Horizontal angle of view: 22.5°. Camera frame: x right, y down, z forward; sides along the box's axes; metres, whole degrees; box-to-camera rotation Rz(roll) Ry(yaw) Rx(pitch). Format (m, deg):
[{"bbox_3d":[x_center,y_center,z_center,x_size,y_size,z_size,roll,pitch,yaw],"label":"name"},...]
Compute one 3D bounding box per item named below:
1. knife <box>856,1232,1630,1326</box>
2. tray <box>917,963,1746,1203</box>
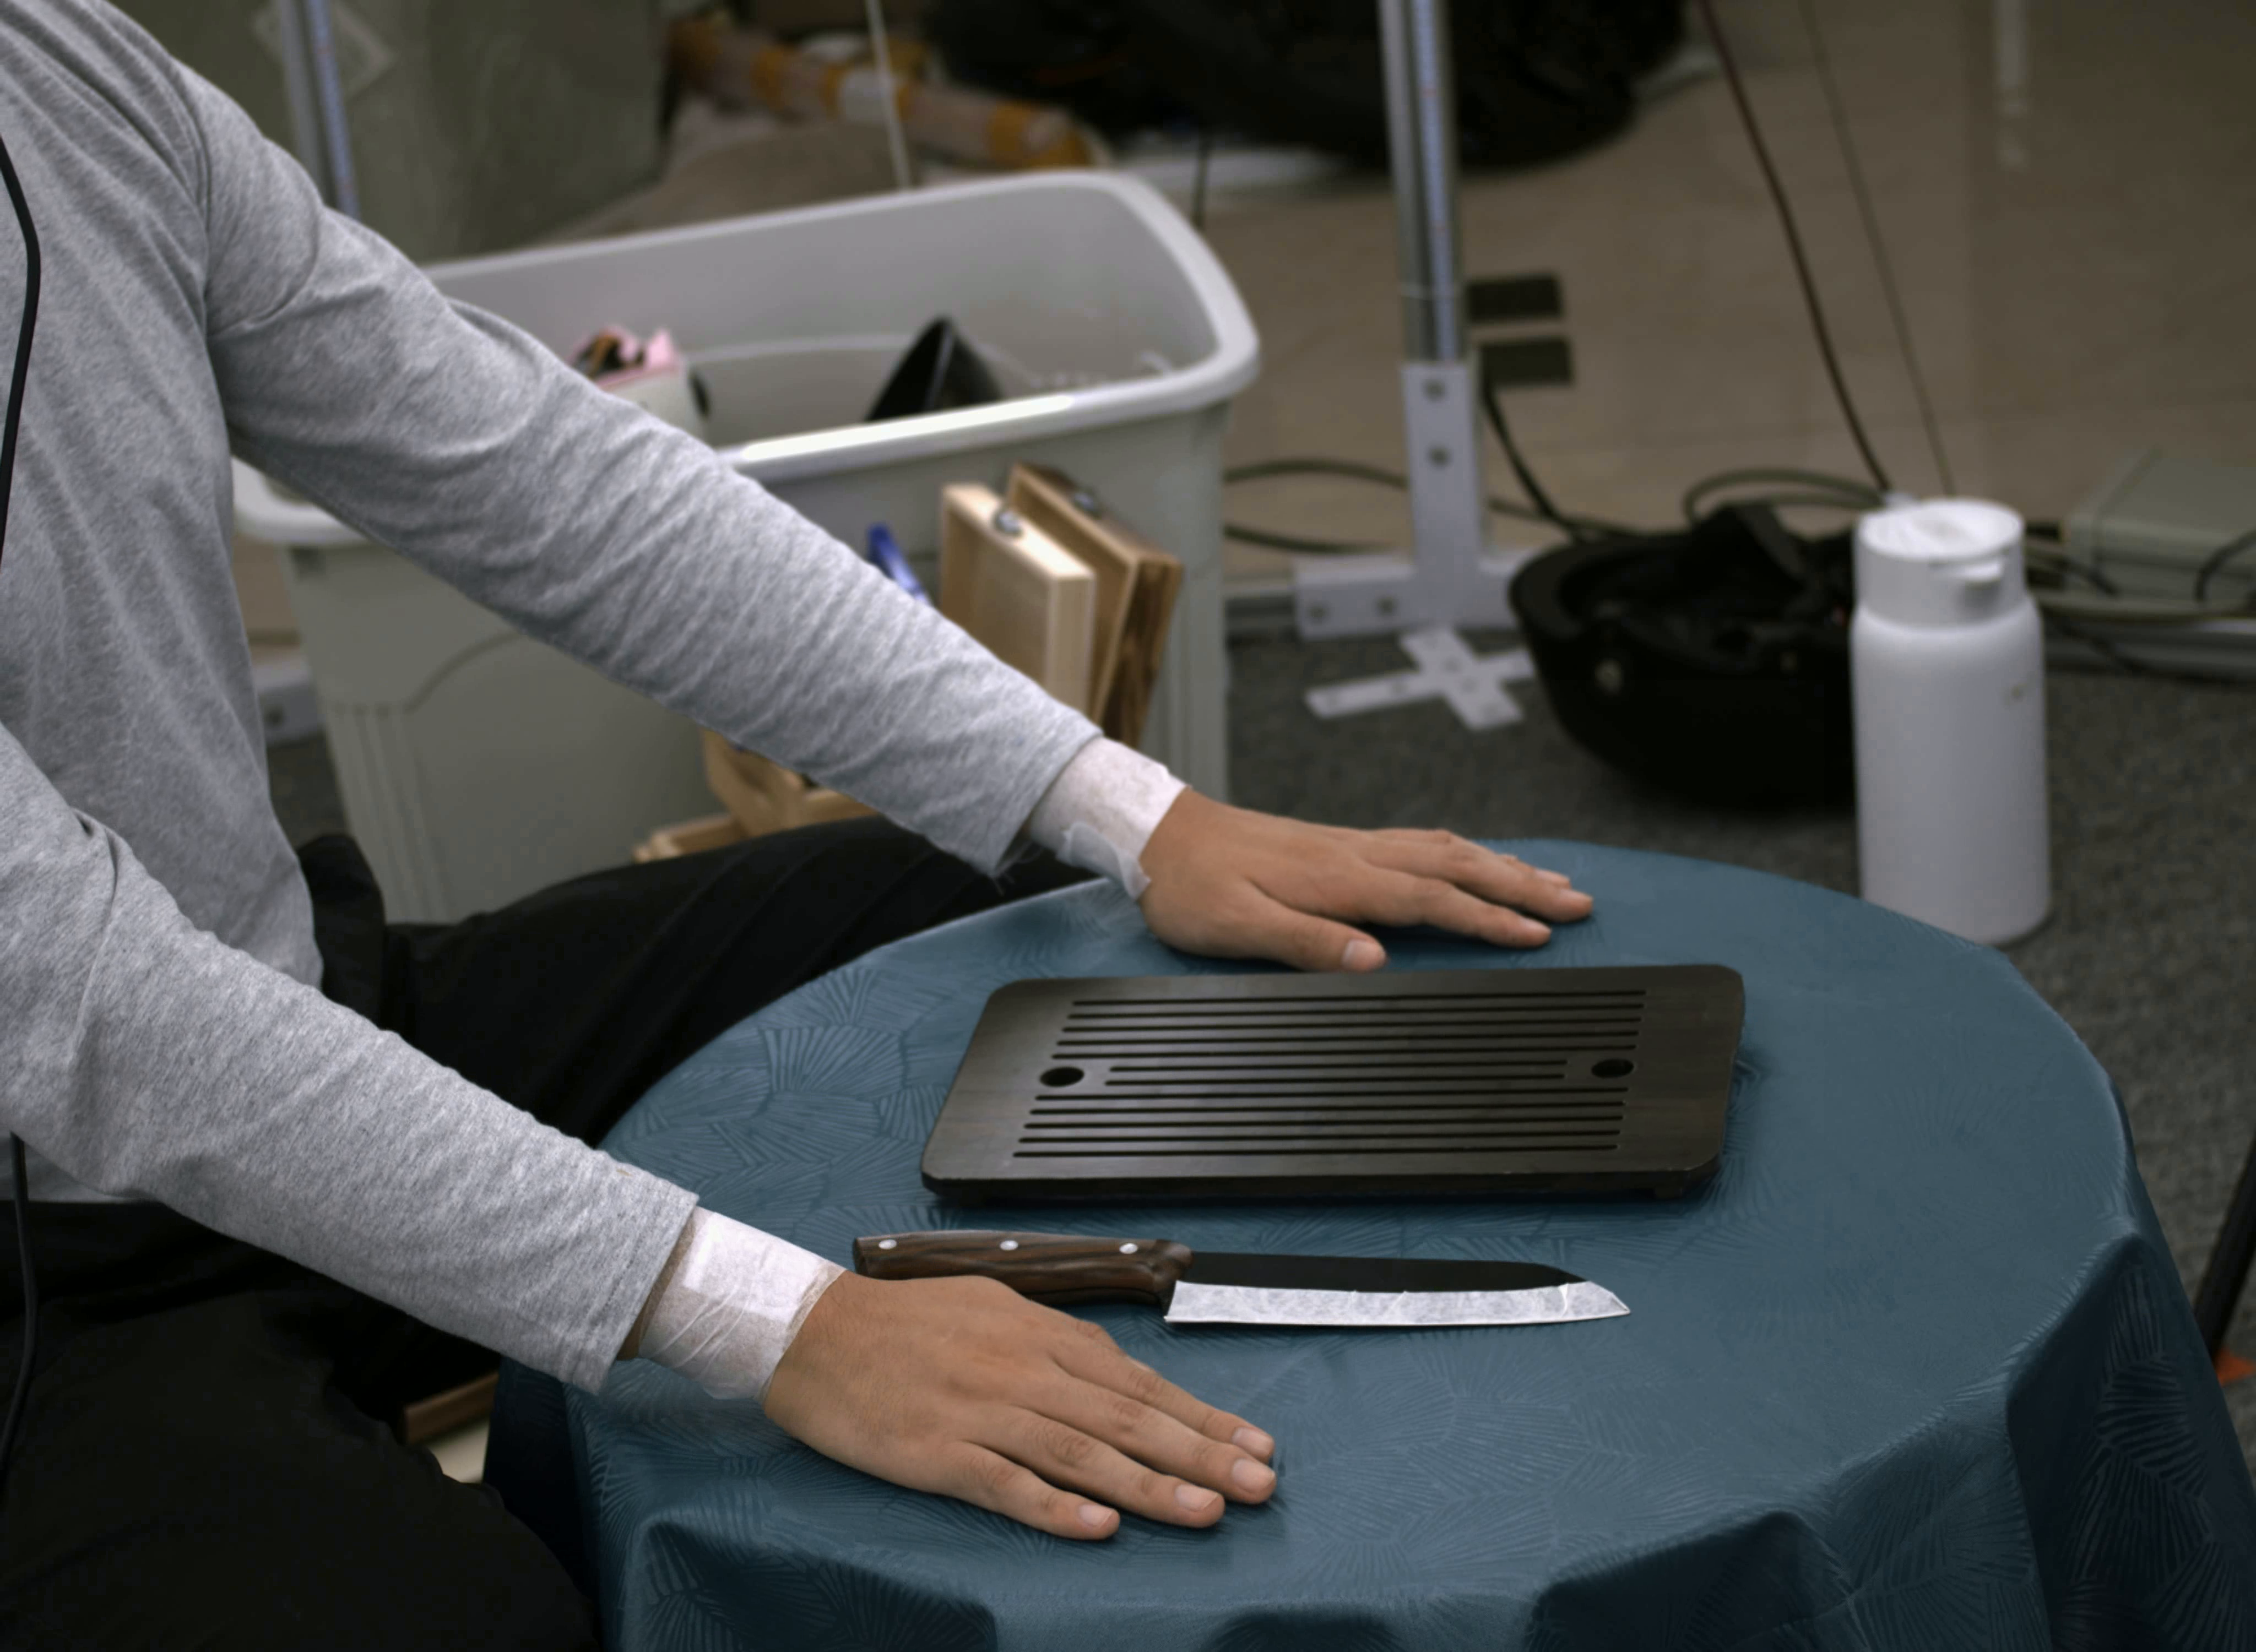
[{"bbox_3d":[0.039,0.167,2.064,0.288,0.020,0.049,2,31,12],"label":"knife"},{"bbox_3d":[0.081,0.100,2.194,0.305,0.019,0.167,-2,25,12],"label":"tray"}]
